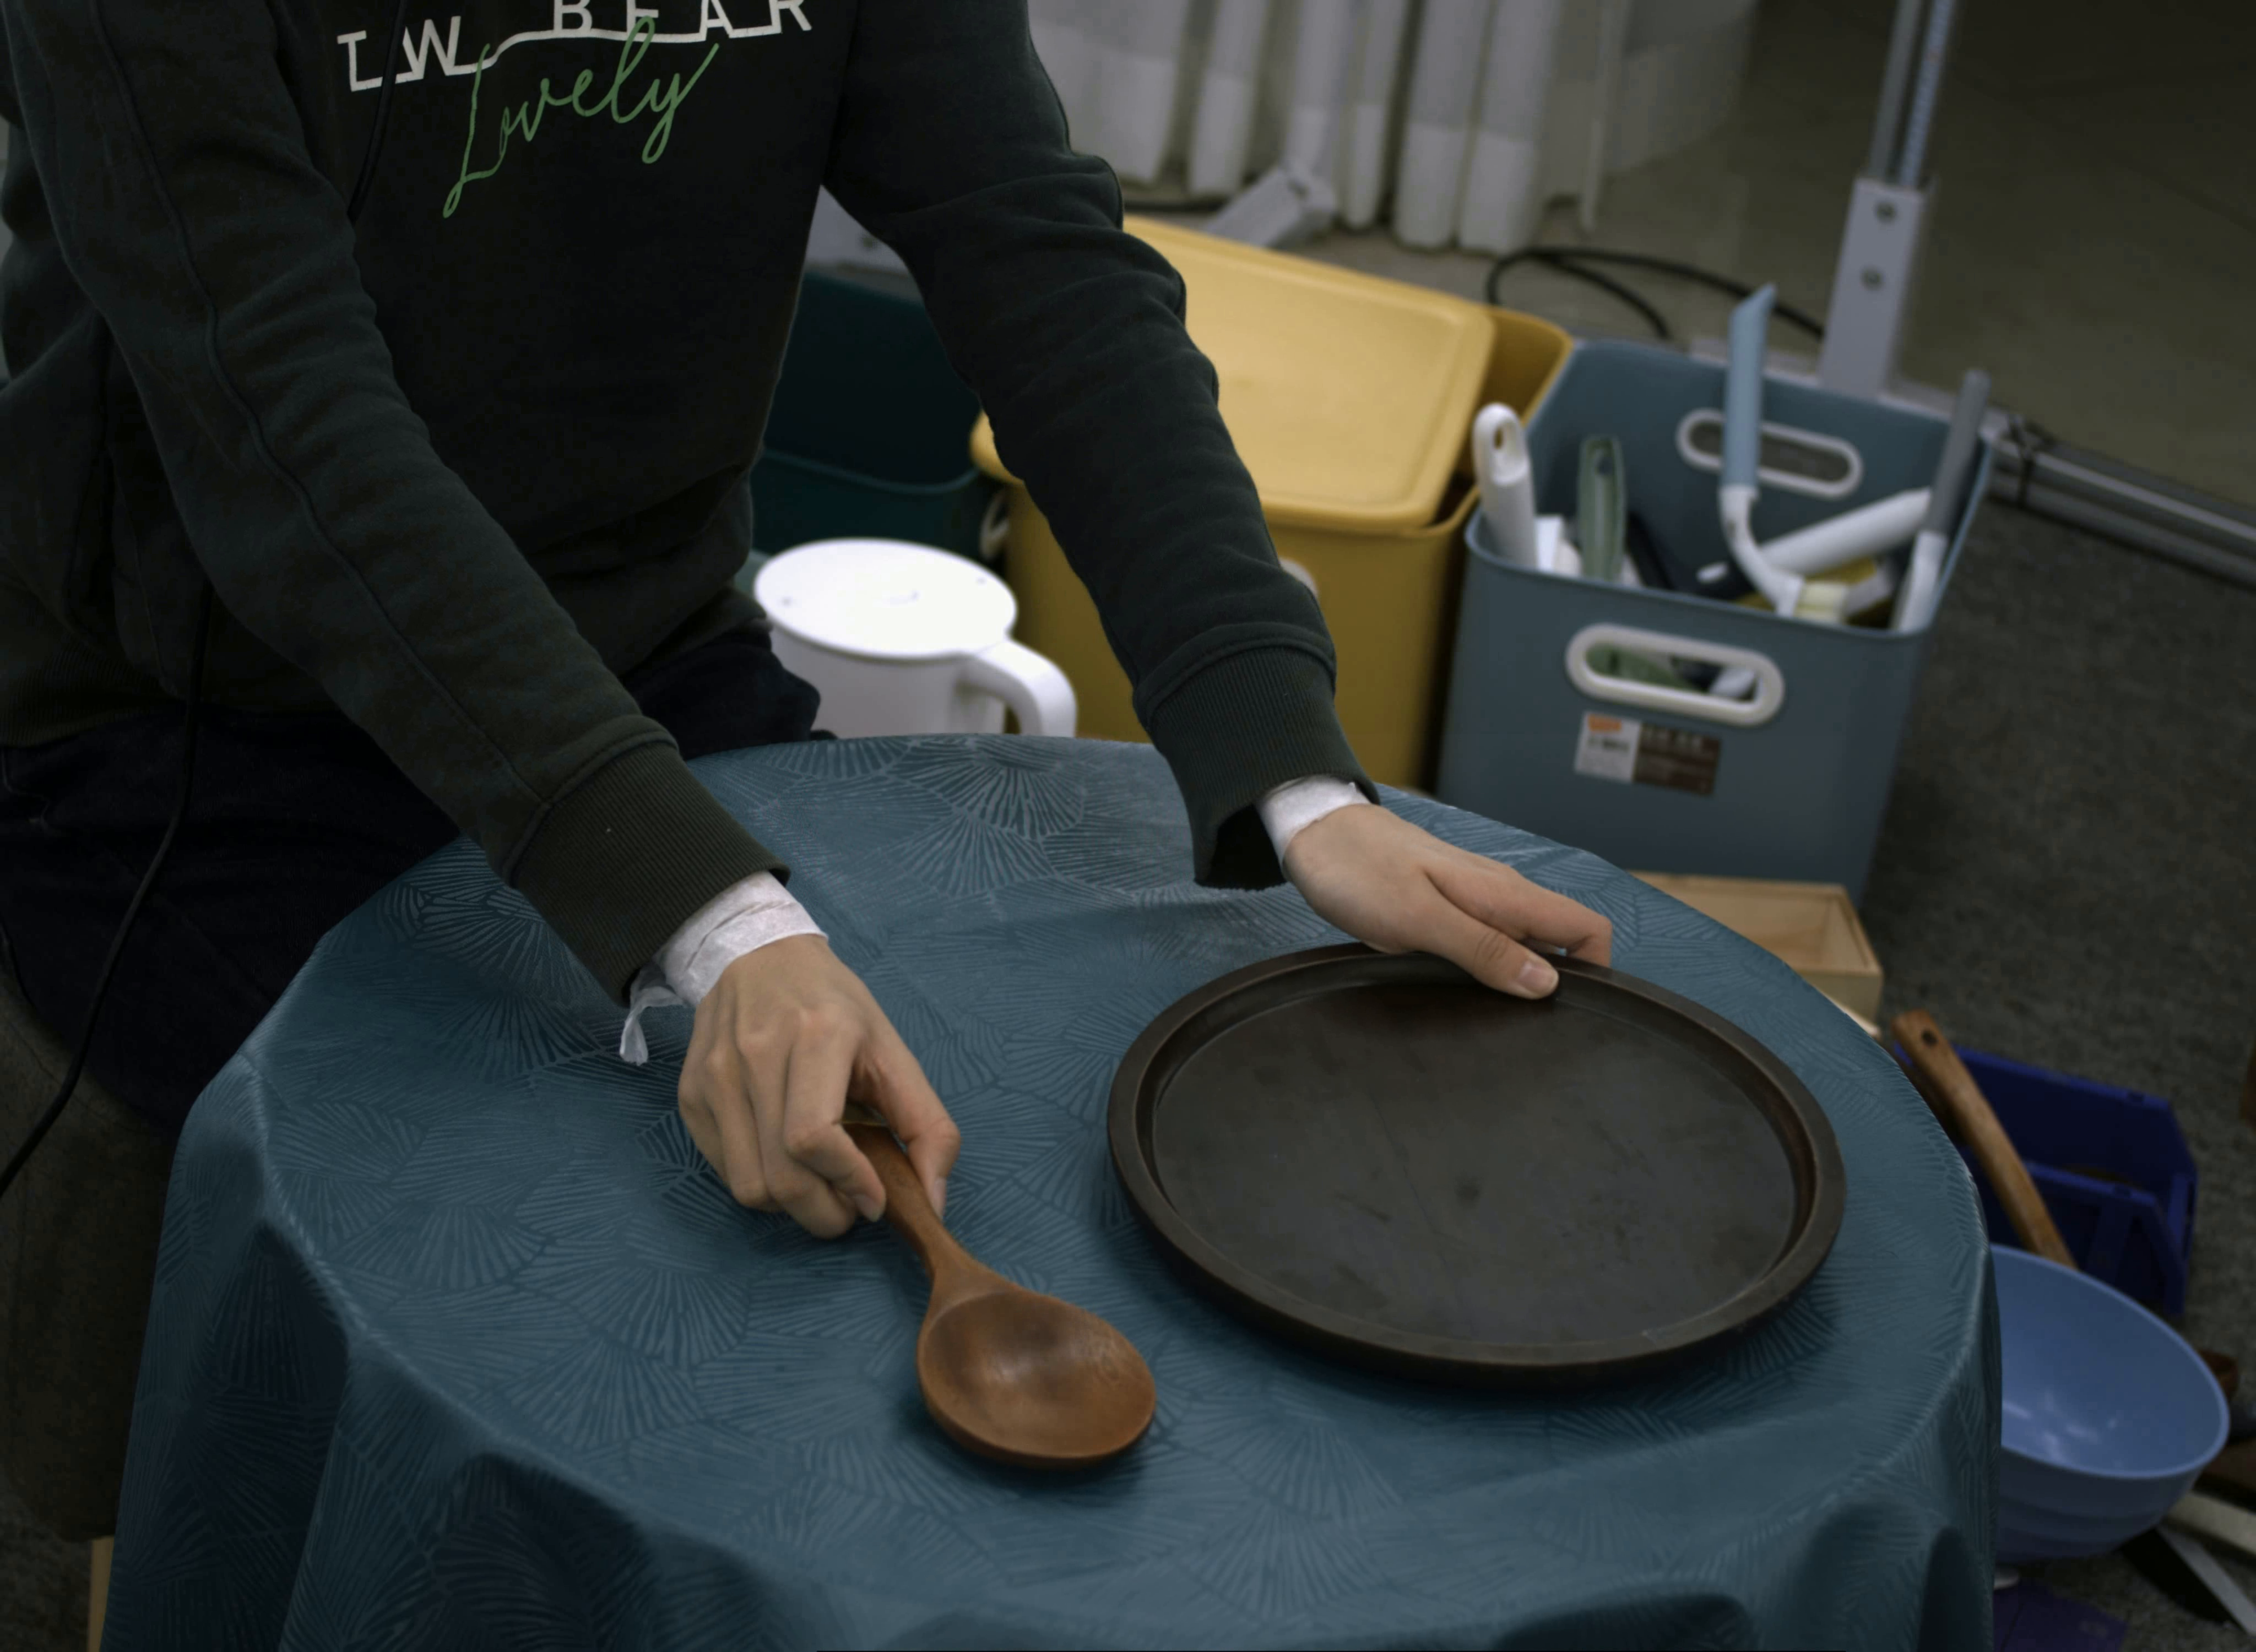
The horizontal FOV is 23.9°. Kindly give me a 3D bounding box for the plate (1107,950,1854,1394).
[{"bbox_3d":[0.118,0.115,1.802,0.254,0.029,0.256,4,31,-3],"label":"plate"}]

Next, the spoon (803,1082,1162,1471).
[{"bbox_3d":[-0.056,0.145,1.716,0.075,0.017,0.218,-9,34,-24],"label":"spoon"}]
